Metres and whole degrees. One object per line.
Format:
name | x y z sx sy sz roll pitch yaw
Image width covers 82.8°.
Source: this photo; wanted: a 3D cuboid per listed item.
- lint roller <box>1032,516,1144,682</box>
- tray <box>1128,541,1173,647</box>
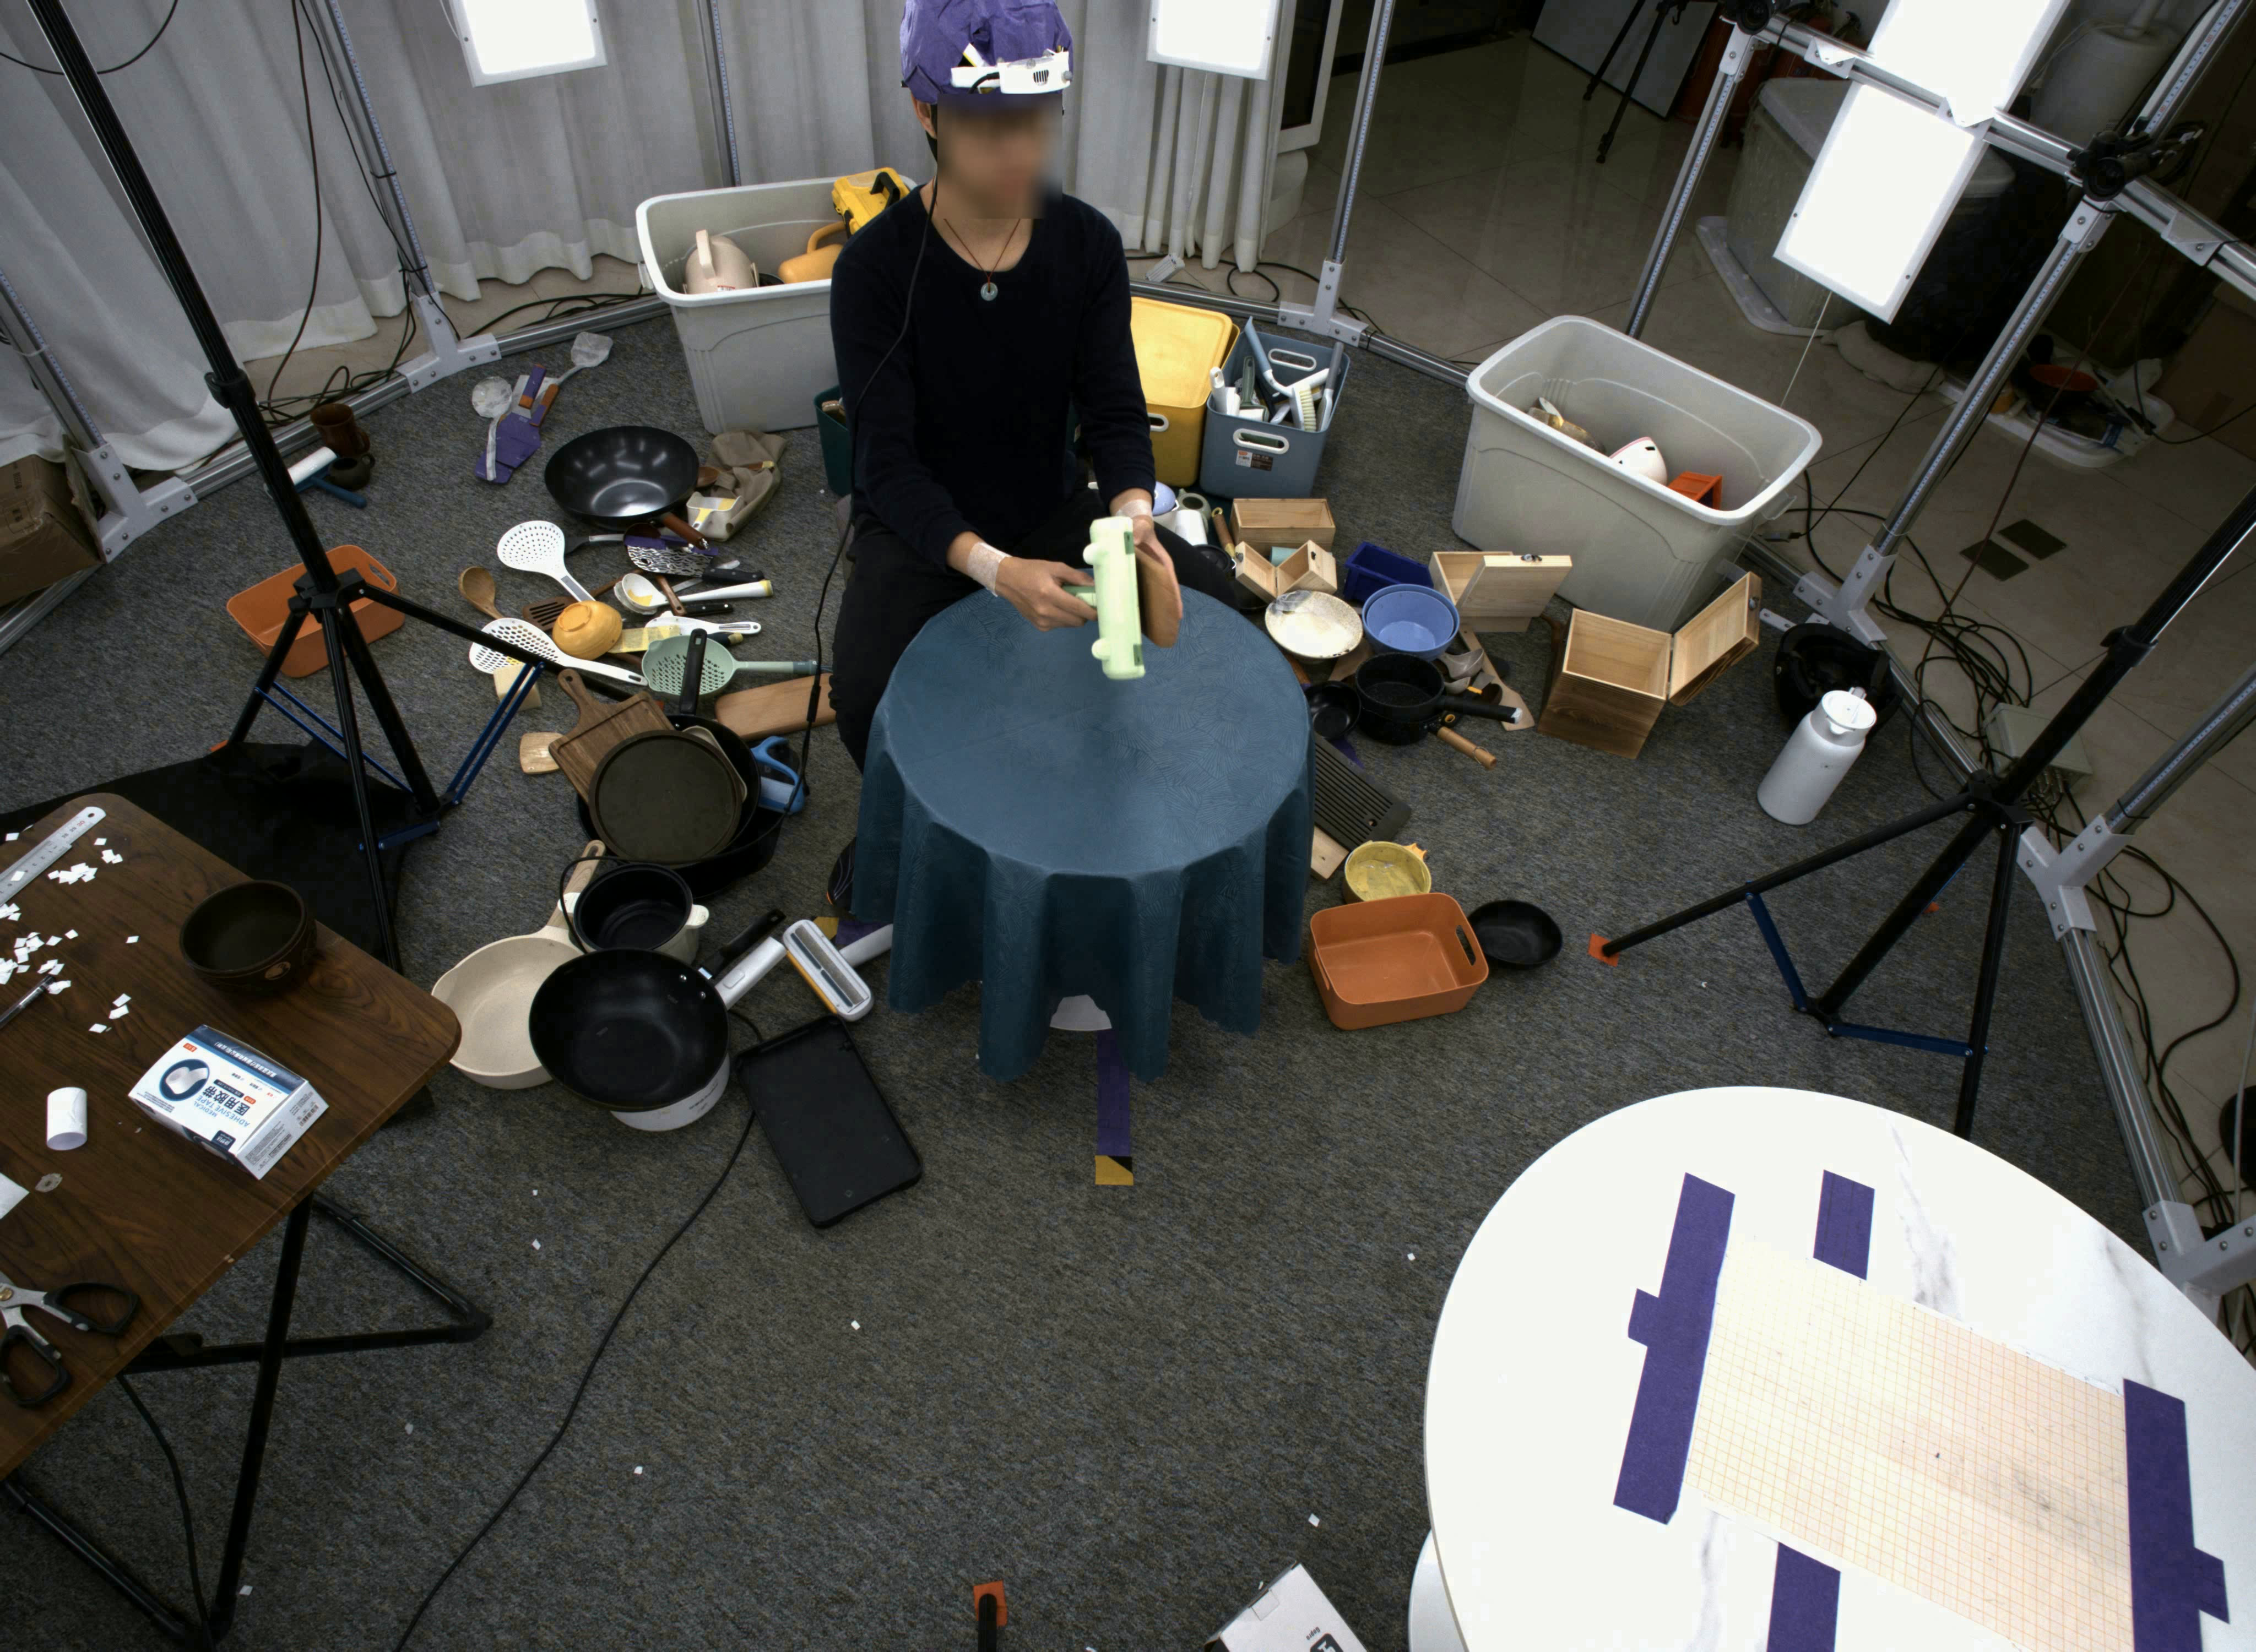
lint roller | -0.064 -0.278 1.592 0.184 0.196 0.082 4 16 35
tray | 0.012 -0.292 1.600 0.020 0.100 0.235 -9 26 -16
